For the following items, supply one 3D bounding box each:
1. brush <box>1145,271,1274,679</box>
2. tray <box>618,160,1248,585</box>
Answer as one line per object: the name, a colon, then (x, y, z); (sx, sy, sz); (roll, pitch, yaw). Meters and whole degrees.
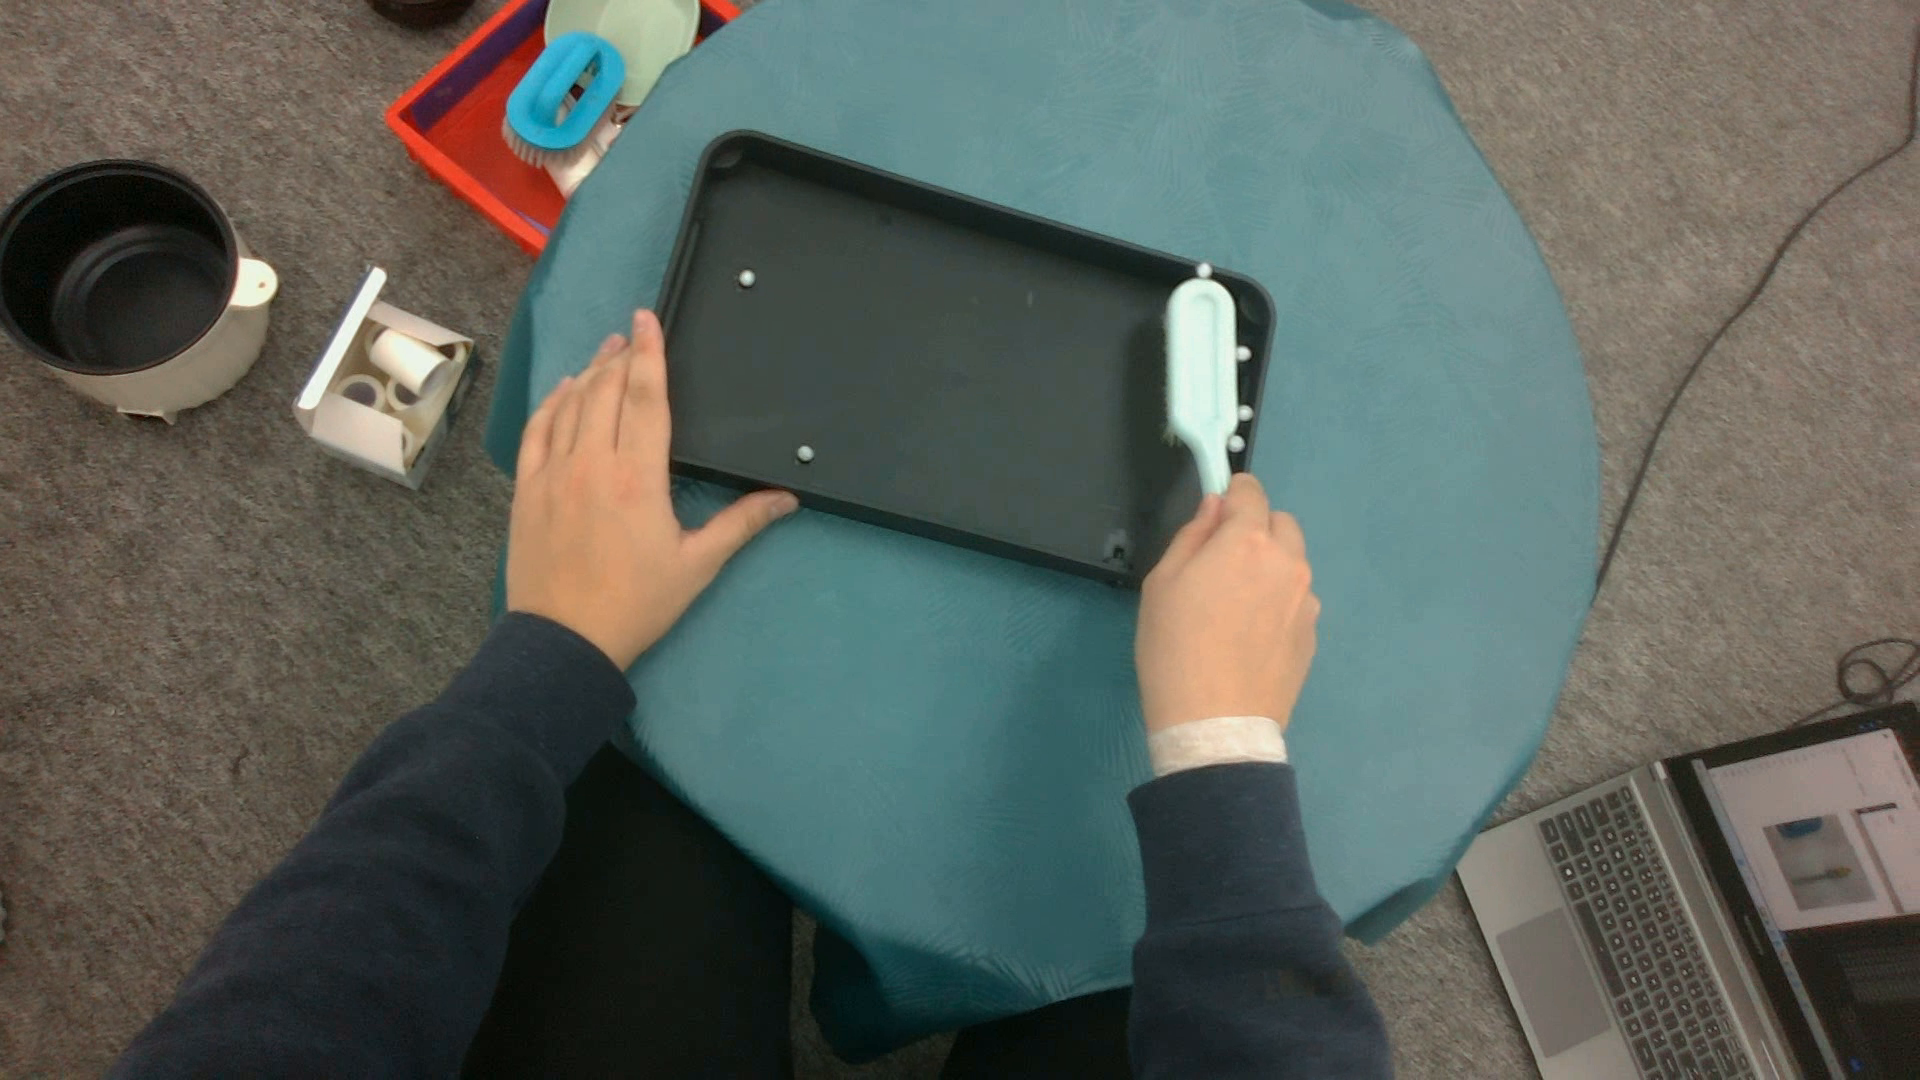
brush: (0.128, -0.035, 0.707); (0.038, 0.049, 0.229); (-2, 63, -11)
tray: (-0.008, -0.087, 0.736); (0.318, 0.037, 0.185); (10, 74, -7)
